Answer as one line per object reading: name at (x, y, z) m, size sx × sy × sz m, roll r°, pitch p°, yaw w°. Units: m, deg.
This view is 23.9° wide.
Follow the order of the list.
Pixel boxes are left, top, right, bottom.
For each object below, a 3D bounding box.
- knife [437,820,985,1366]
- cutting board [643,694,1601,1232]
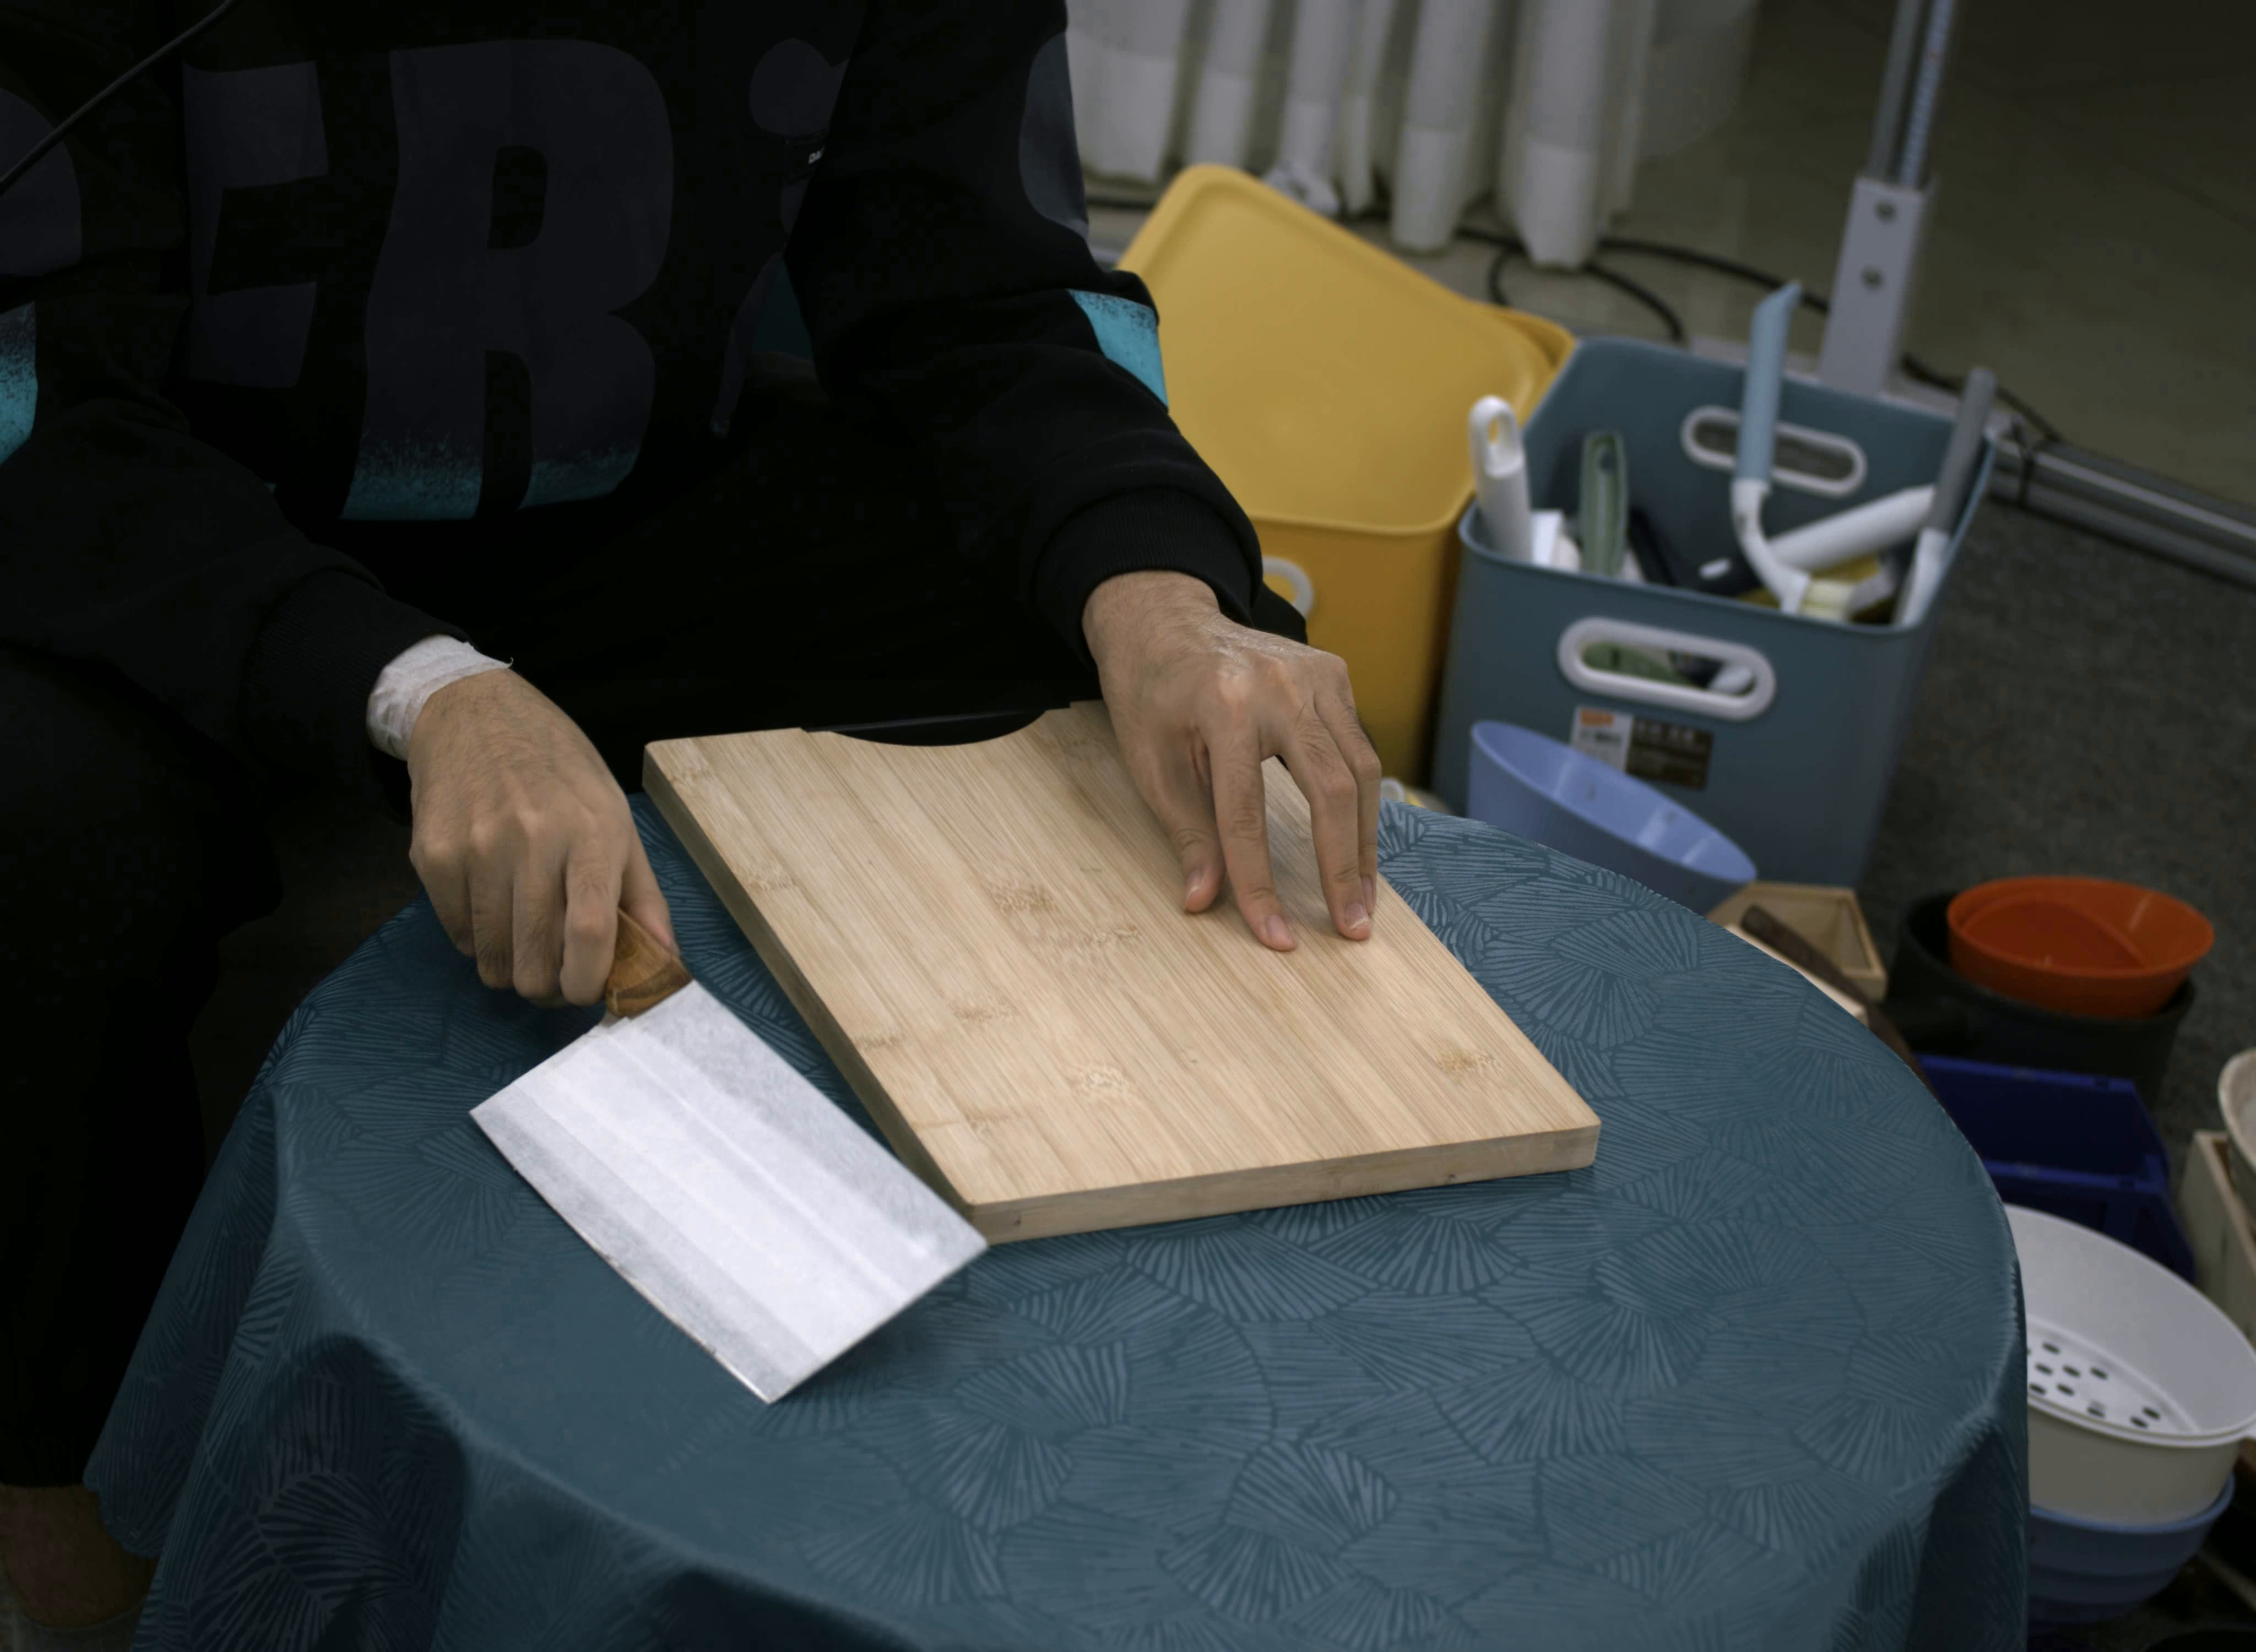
knife at (-0.165, 0.090, 1.783) m, size 0.093 × 0.021 × 0.308 m, roll -33°, pitch 44°, yaw -19°
cutting board at (-0.011, 0.043, 1.942) m, size 0.249 × 0.023 × 0.352 m, roll -5°, pitch 29°, yaw -24°
